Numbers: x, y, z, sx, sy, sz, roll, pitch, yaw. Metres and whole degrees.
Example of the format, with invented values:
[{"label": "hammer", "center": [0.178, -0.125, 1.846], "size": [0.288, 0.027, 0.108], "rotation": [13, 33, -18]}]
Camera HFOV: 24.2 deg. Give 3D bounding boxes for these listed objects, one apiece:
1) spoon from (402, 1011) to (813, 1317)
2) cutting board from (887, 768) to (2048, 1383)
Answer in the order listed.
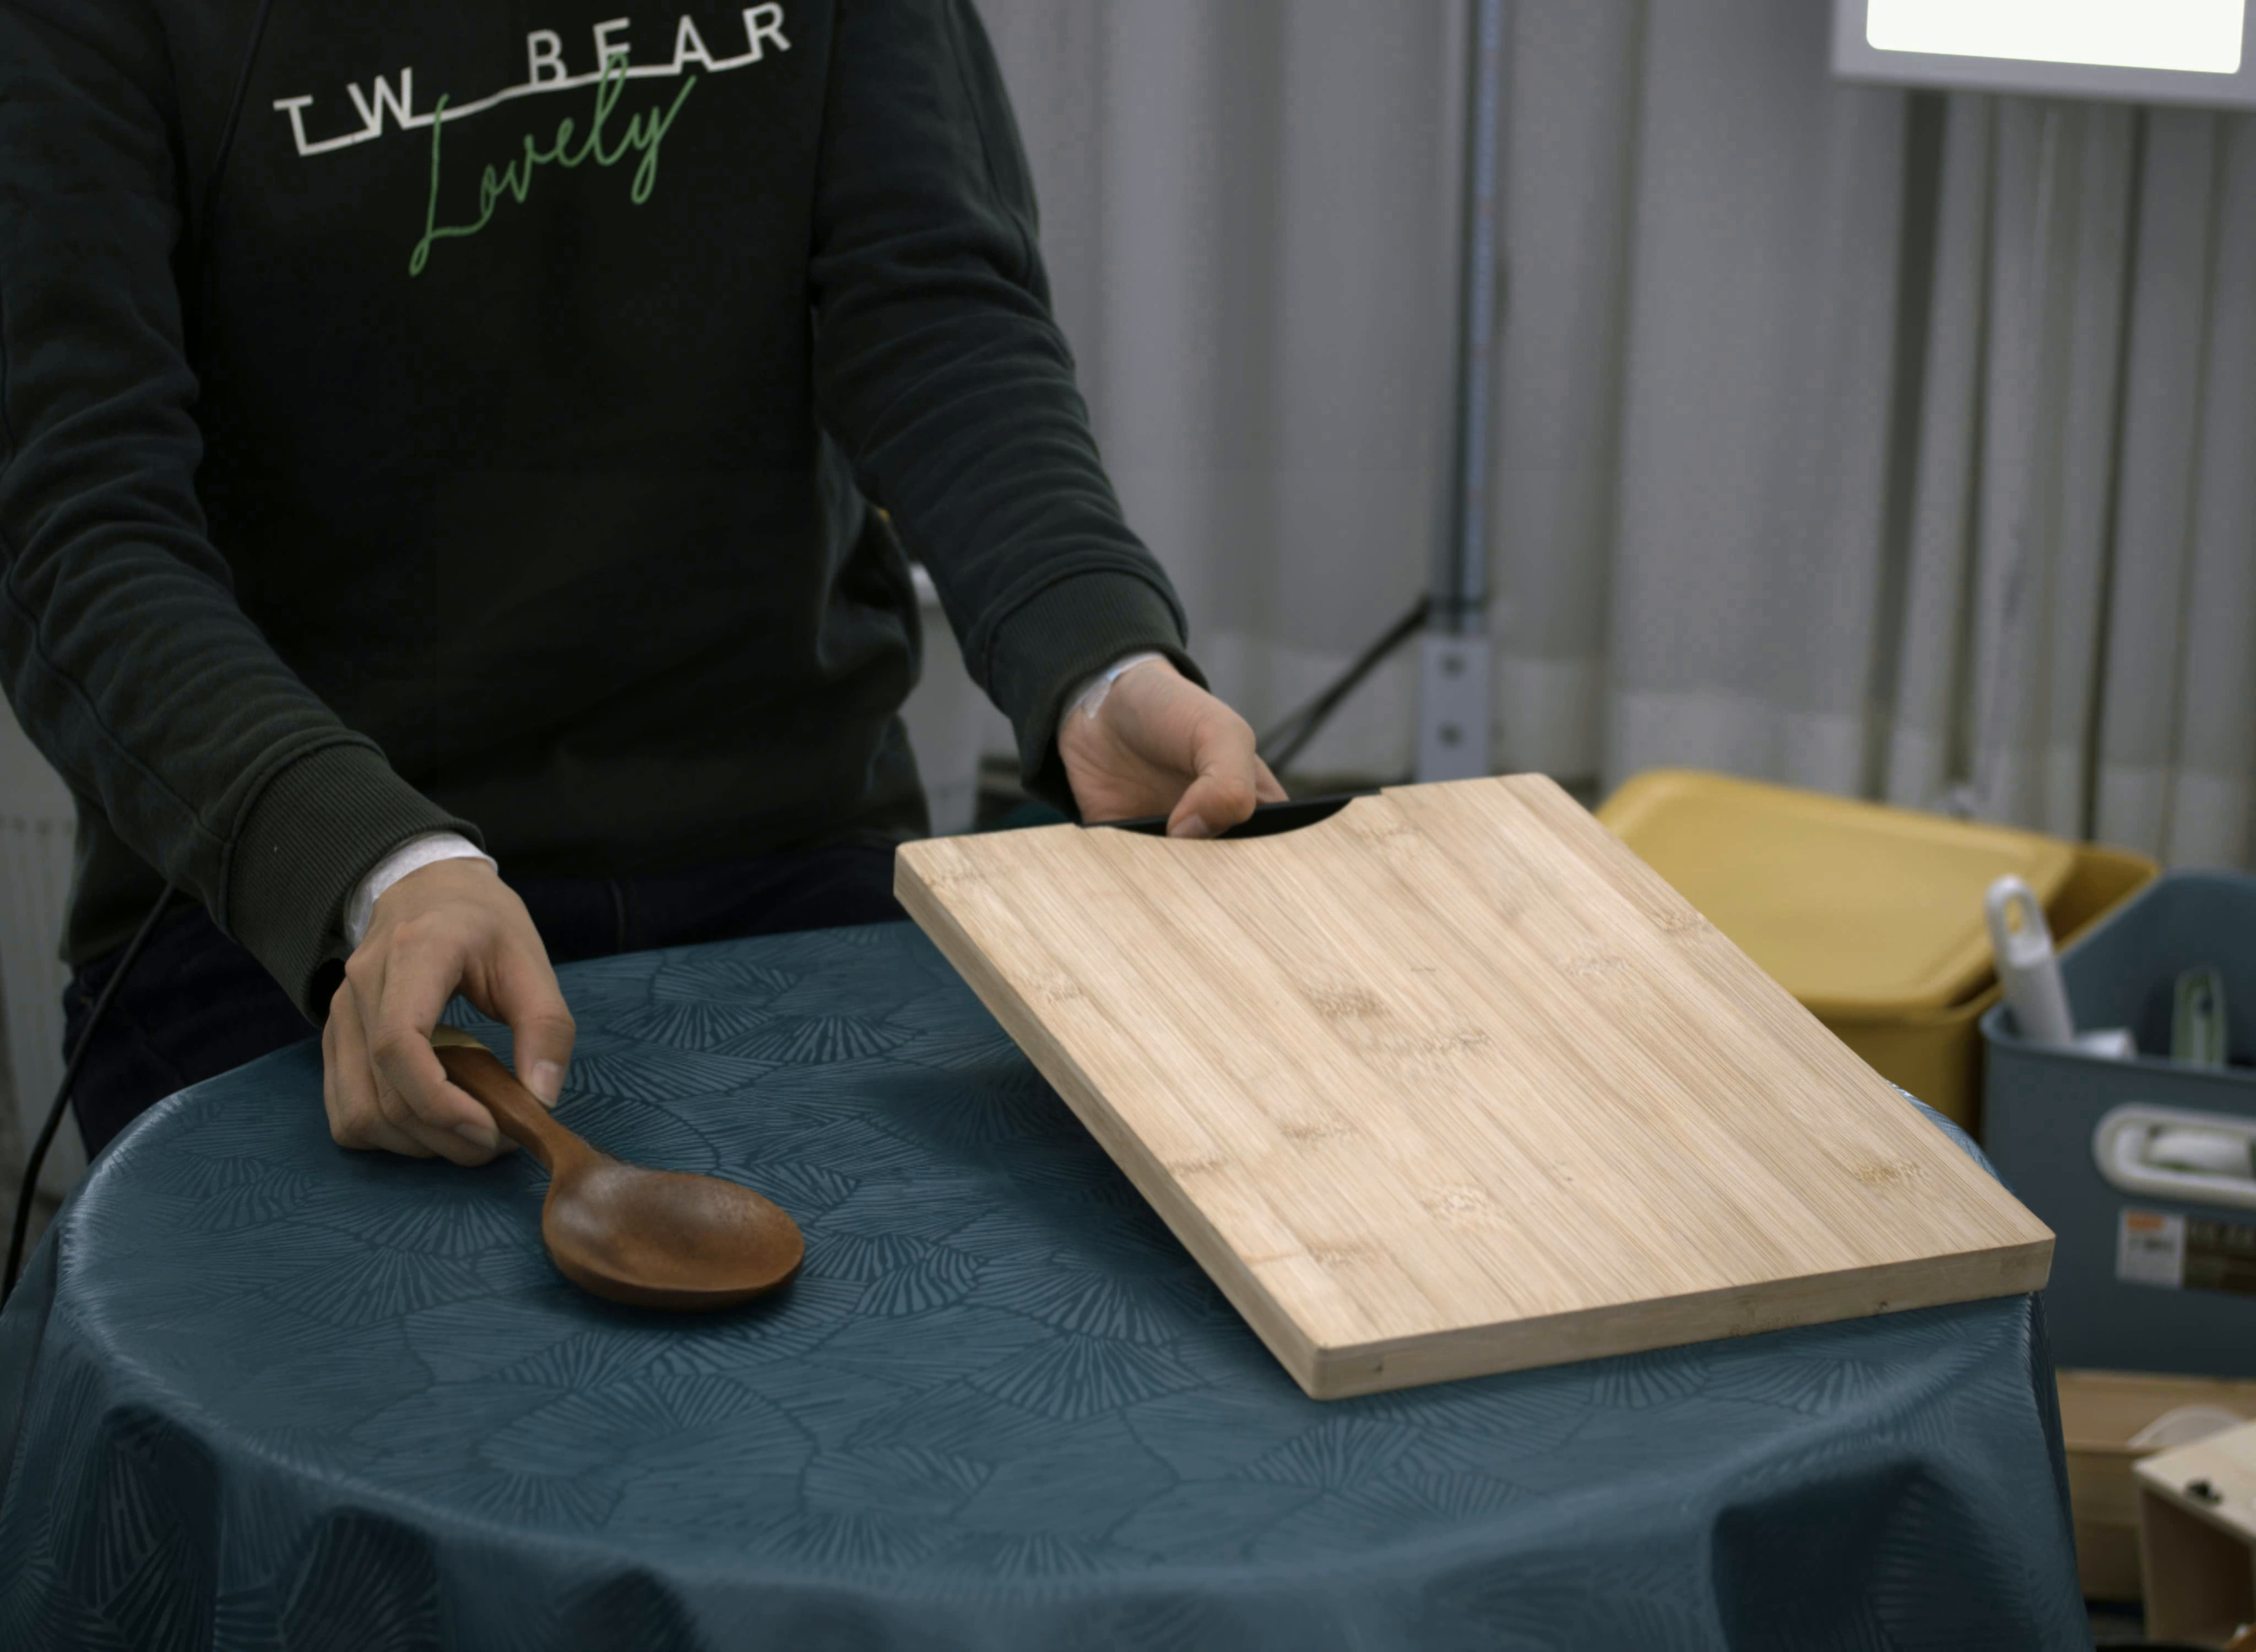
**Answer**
[{"label": "spoon", "center": [-0.166, 0.102, 1.592], "size": [0.076, 0.017, 0.213], "rotation": [-12, 27, -31]}, {"label": "cutting board", "center": [0.095, 0.070, 1.645], "size": [0.251, 0.024, 0.344], "rotation": [-6, 27, -24]}]
